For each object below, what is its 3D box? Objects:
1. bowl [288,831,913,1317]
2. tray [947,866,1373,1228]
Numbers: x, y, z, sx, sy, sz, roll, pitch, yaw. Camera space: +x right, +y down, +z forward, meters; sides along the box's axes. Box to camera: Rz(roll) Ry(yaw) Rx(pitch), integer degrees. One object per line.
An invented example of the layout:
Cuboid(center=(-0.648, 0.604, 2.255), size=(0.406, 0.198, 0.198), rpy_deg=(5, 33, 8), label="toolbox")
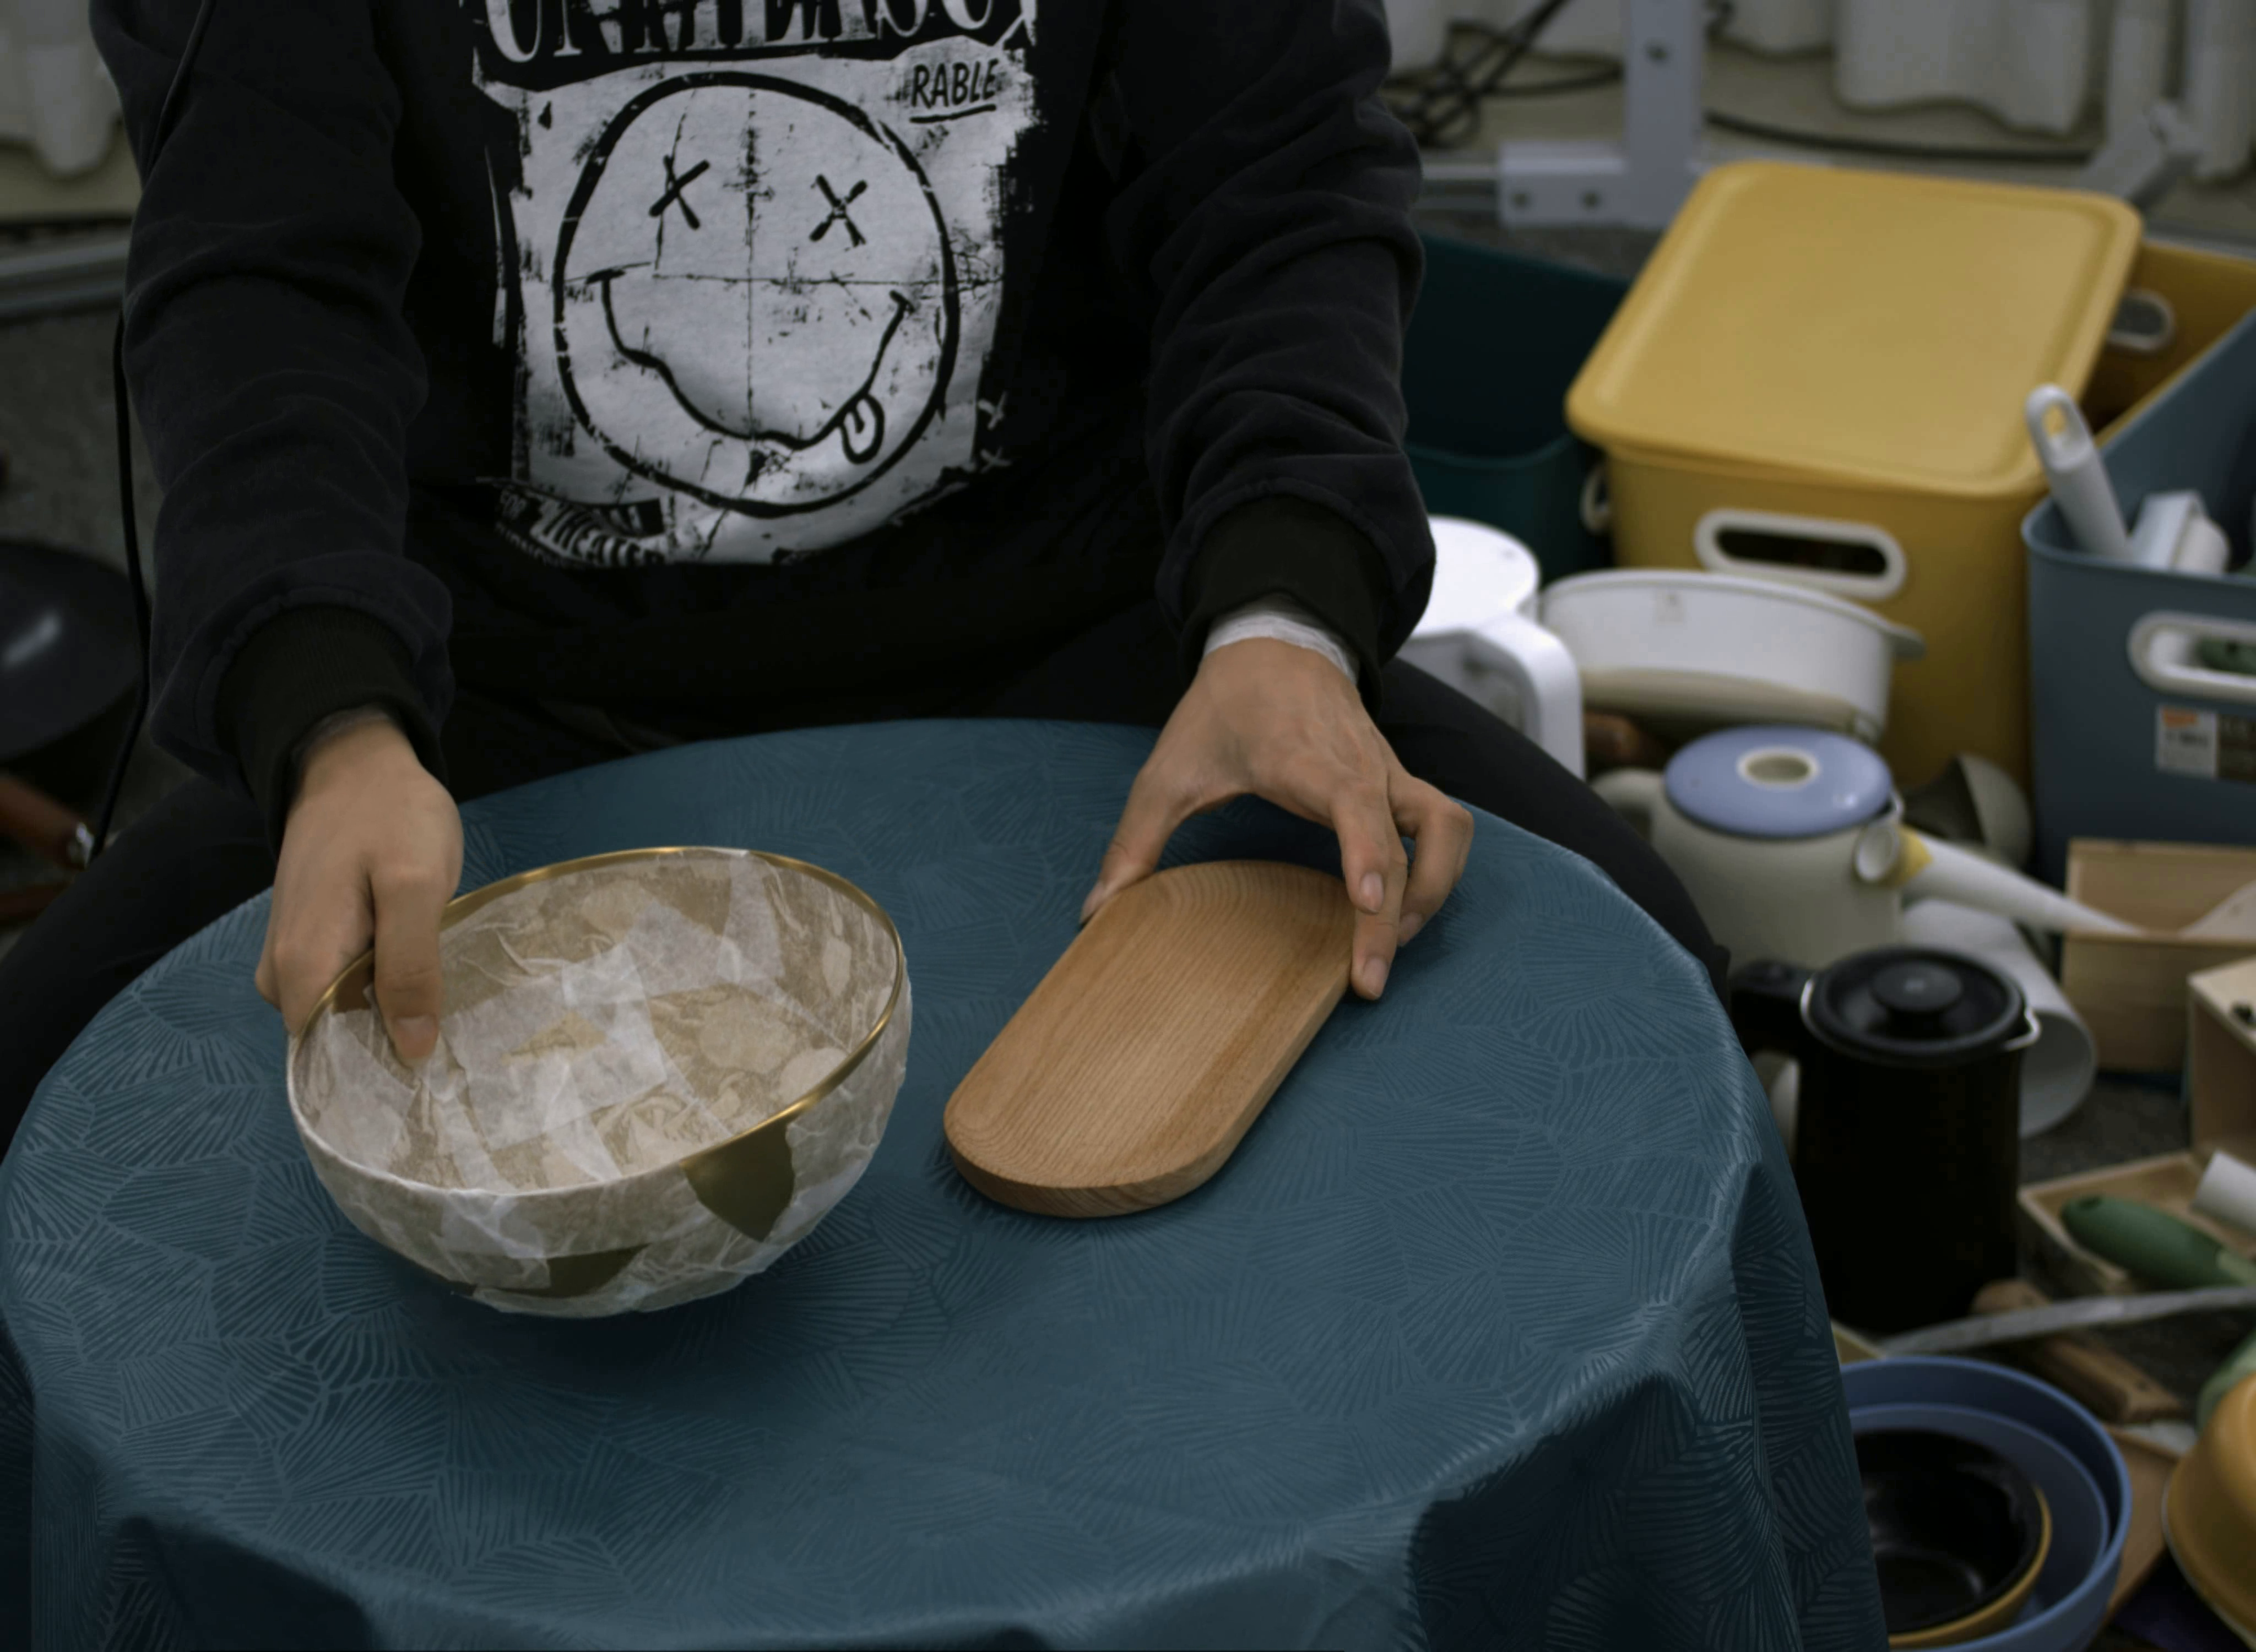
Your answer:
Cuboid(center=(-0.158, 0.093, 1.809), size=(0.213, 0.093, 0.218), rpy_deg=(-9, 29, 5), label="bowl")
Cuboid(center=(0.013, 0.074, 1.935), size=(0.101, 0.020, 0.235), rpy_deg=(5, 30, 21), label="tray")
